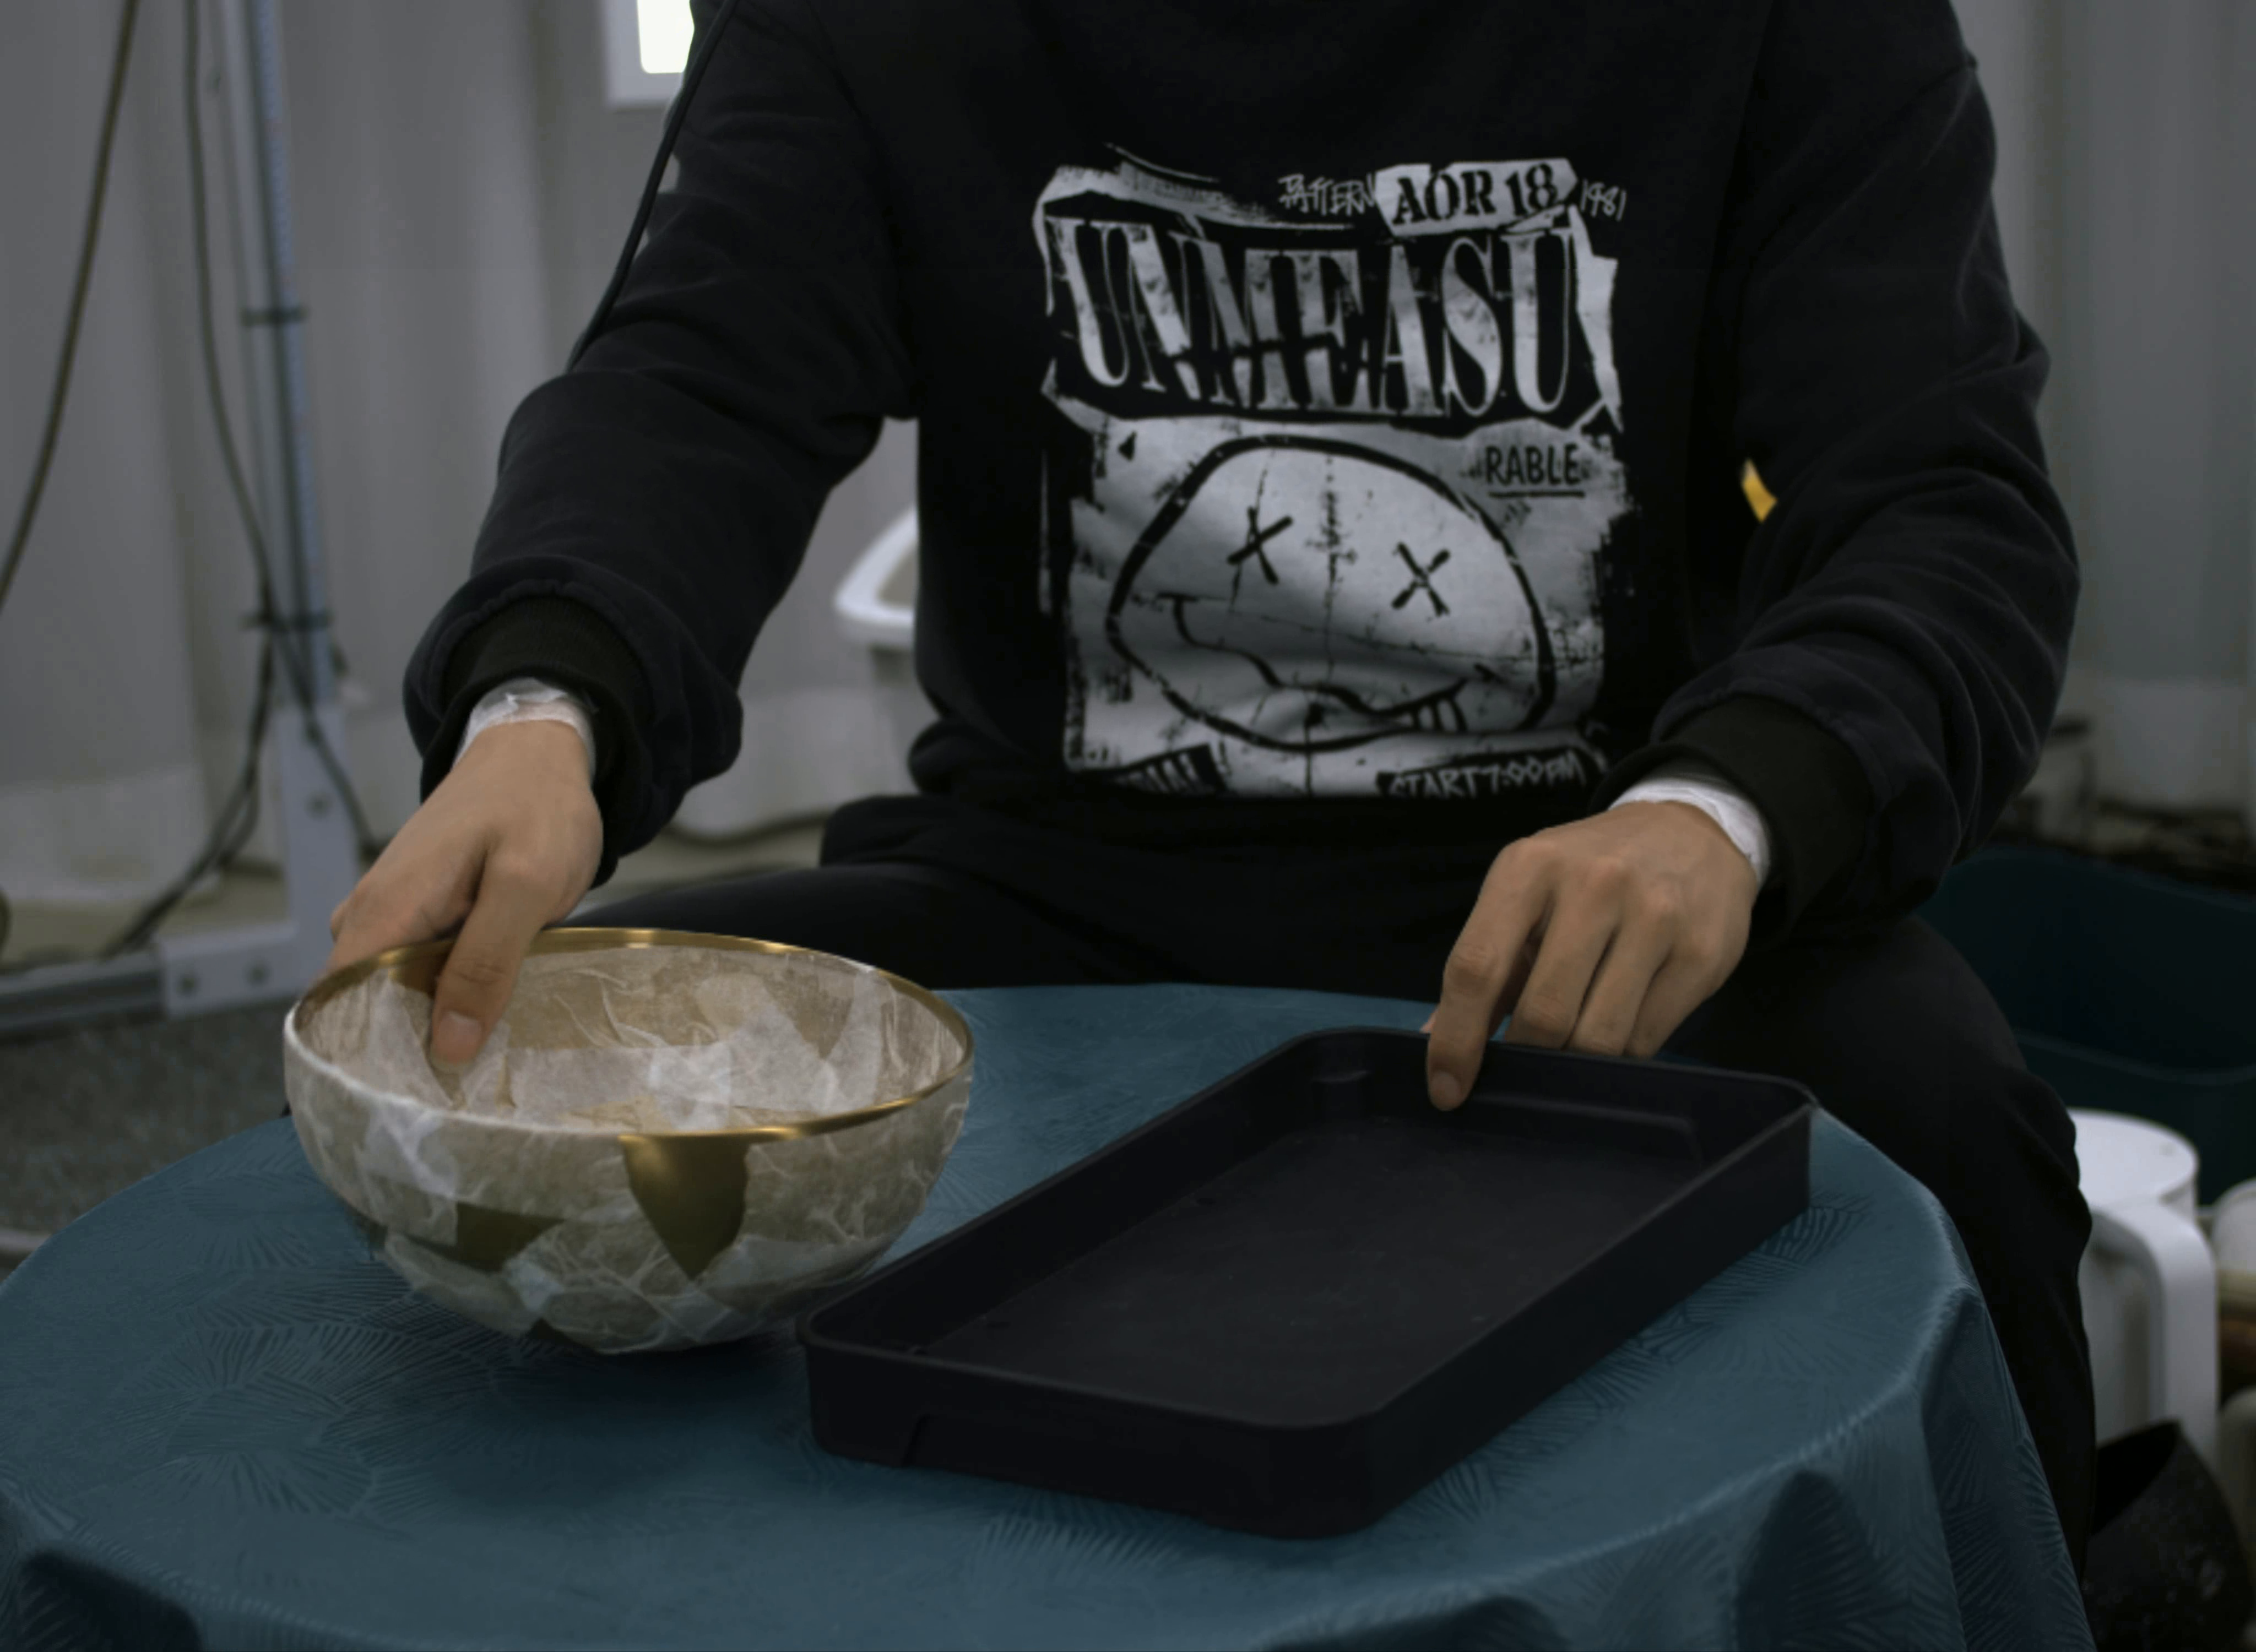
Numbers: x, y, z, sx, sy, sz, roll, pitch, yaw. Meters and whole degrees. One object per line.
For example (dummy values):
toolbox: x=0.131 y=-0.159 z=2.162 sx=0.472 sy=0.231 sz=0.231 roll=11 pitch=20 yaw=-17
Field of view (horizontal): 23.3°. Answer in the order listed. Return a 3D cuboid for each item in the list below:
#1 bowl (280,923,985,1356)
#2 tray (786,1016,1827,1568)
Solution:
bowl: x=-0.143 y=0.101 z=1.609 sx=0.214 sy=0.094 sz=0.216 roll=2 pitch=14 yaw=-1
tray: x=0.059 y=0.128 z=1.593 sx=0.185 sy=0.037 sz=0.318 roll=8 pitch=20 yaw=32
